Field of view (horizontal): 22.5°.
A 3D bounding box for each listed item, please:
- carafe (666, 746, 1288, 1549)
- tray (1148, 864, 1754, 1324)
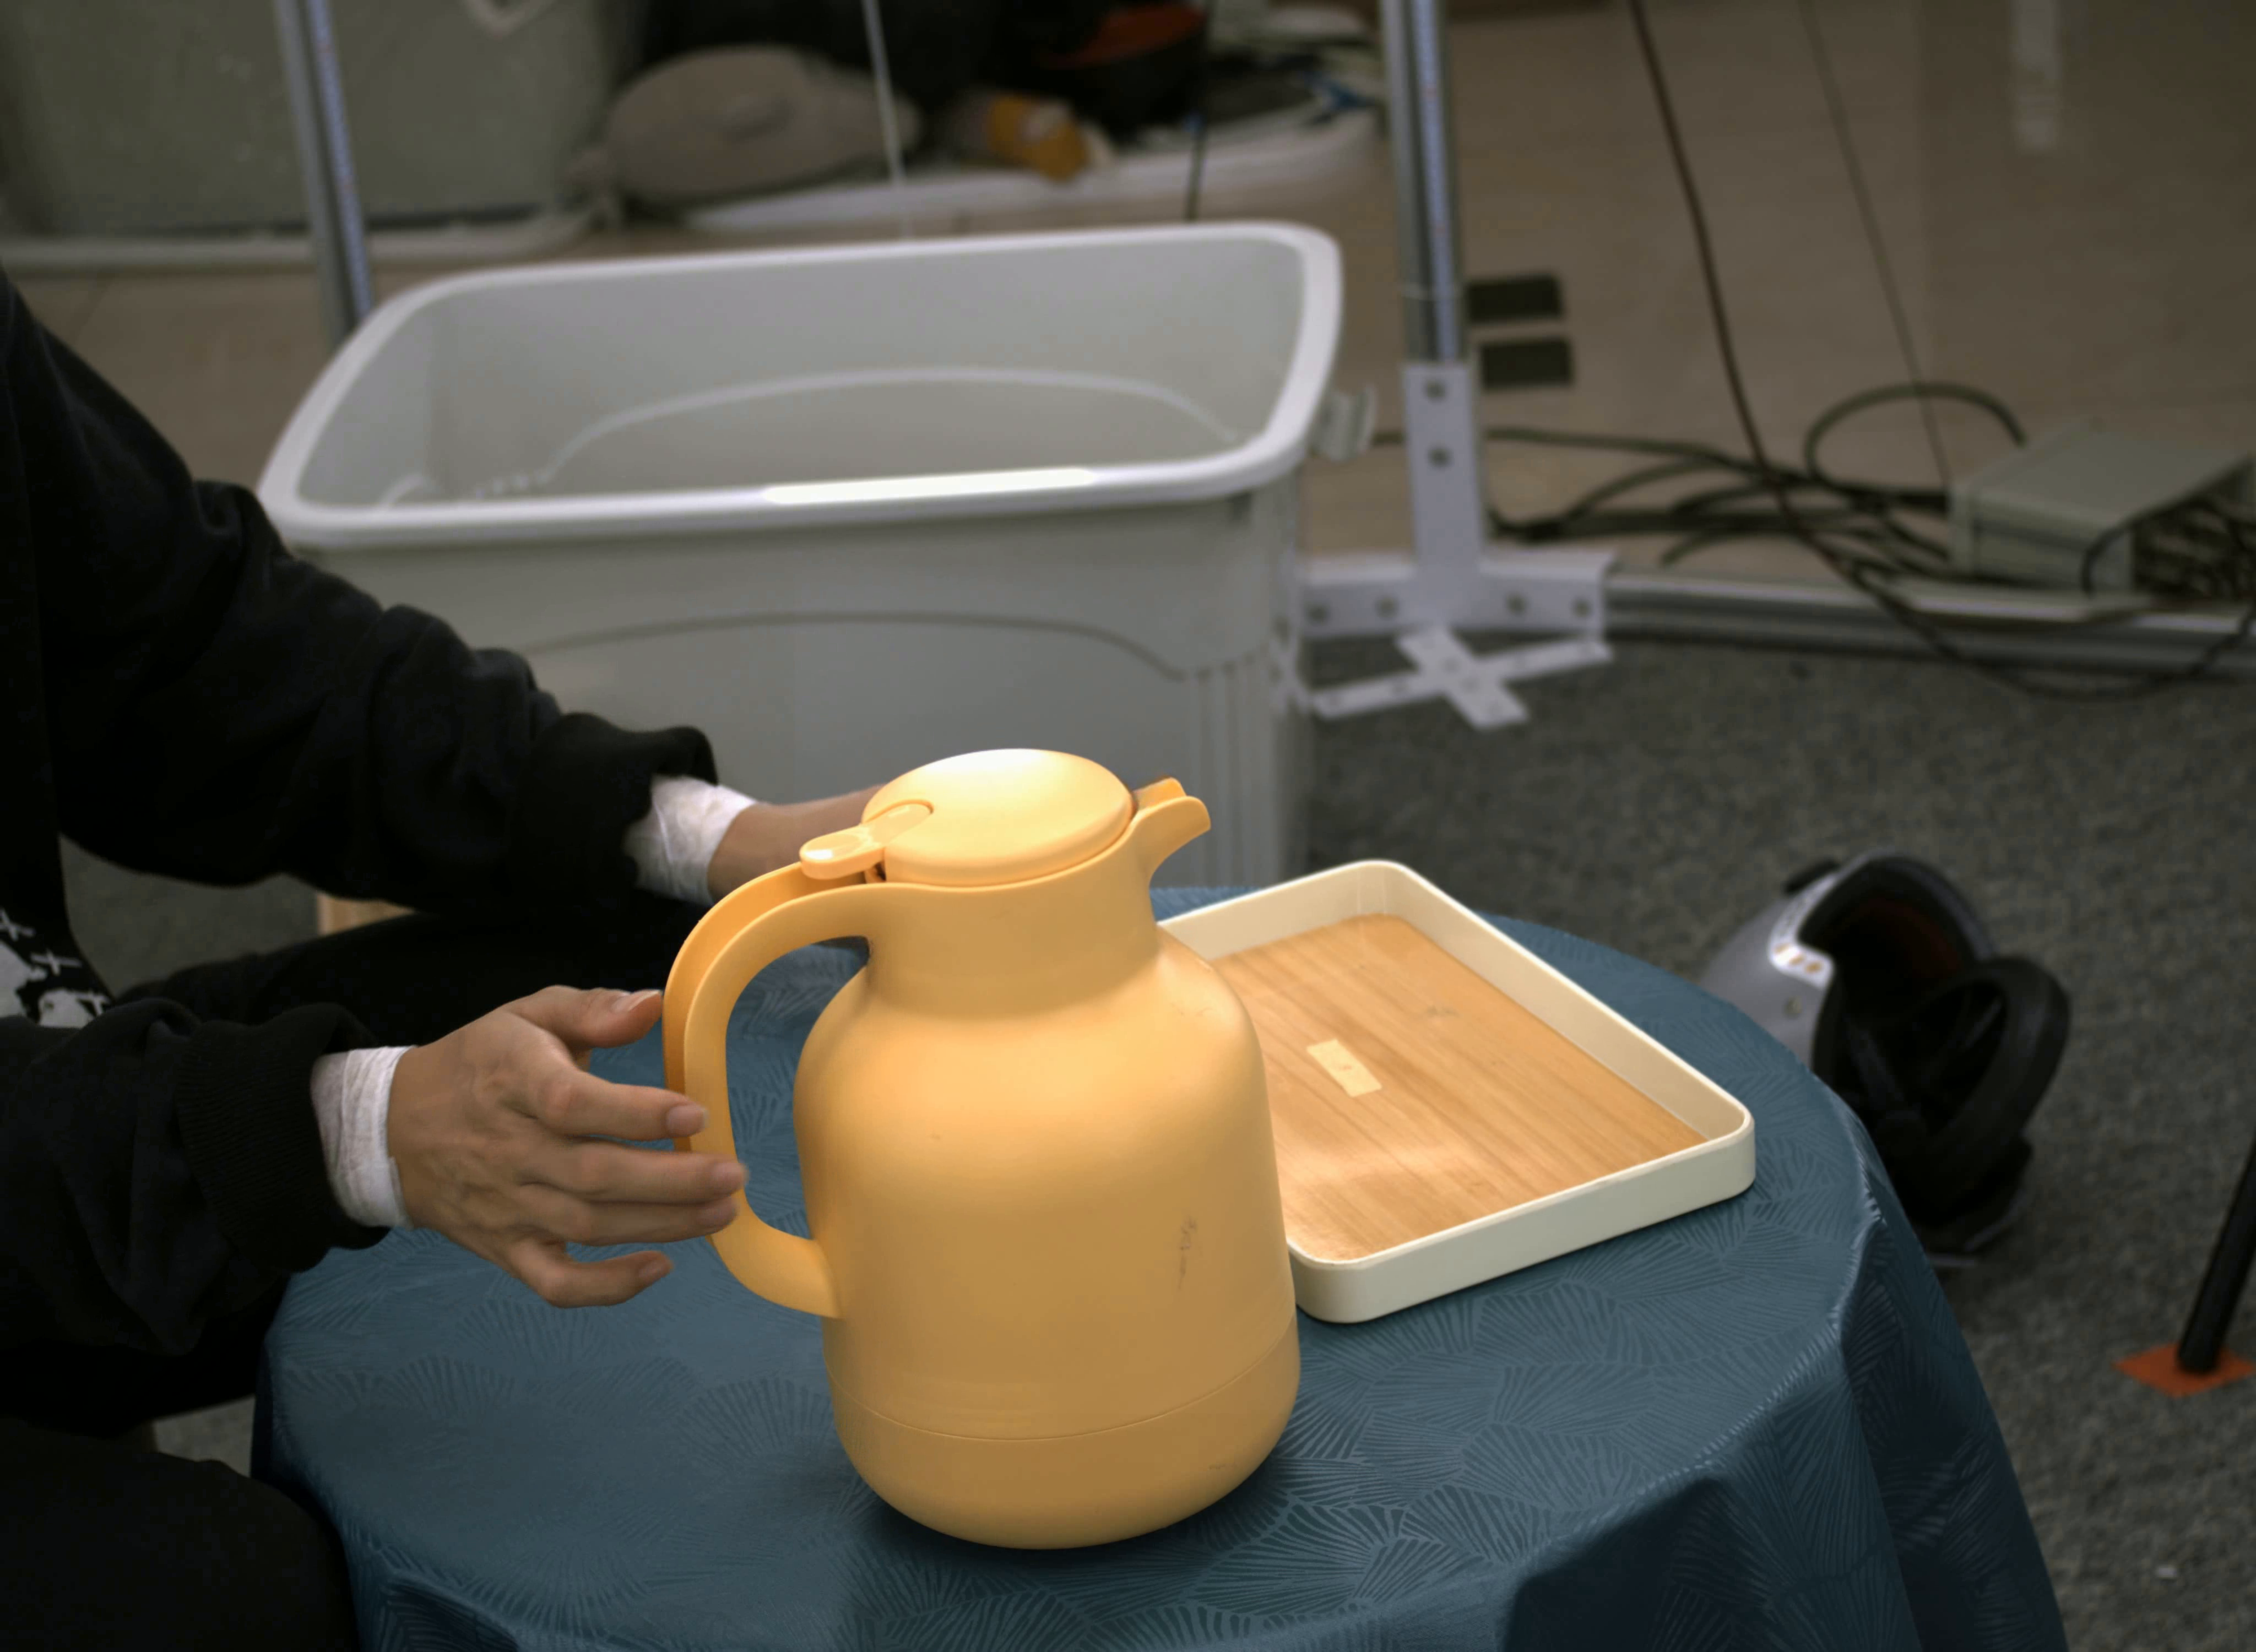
[{"bbox_3d":[-0.052,0.107,1.916,0.202,0.264,0.161,-12,24,-15],"label":"carafe"},{"bbox_3d":[0.089,0.098,2.185,0.191,0.028,0.297,-16,26,-21],"label":"tray"}]
